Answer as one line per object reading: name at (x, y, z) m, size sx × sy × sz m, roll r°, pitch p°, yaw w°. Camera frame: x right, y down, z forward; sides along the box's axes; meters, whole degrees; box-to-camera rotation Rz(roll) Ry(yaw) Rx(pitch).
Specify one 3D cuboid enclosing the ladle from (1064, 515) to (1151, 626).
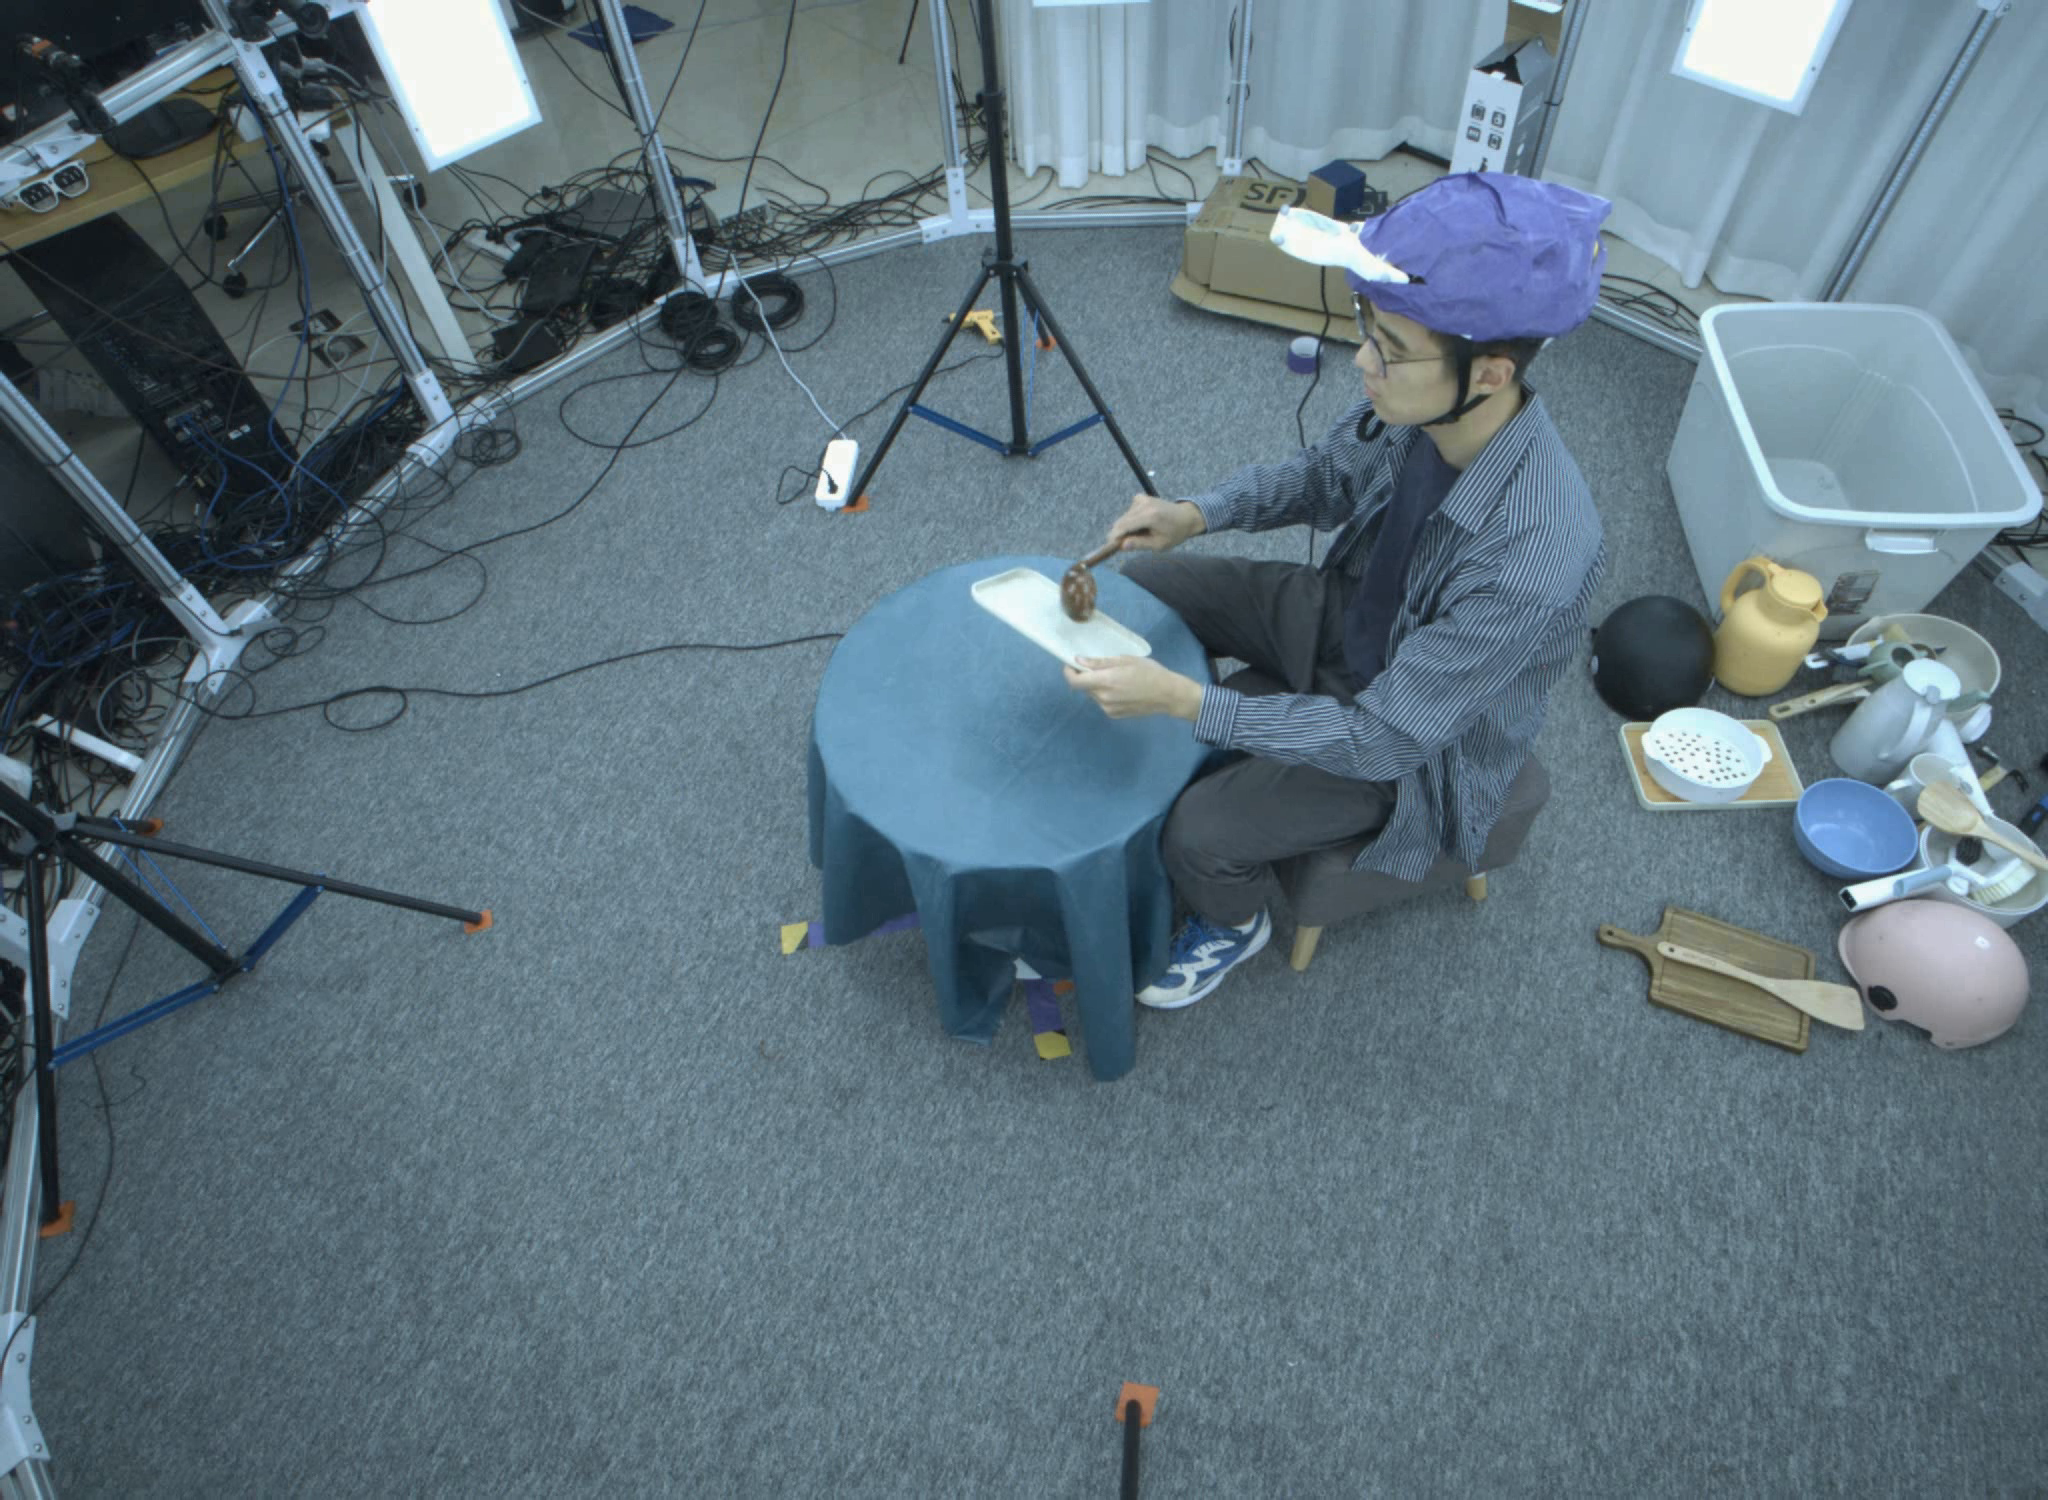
ladle at (0.137, -0.264, 1.747) m, size 0.076 × 0.082 × 0.276 m, roll 37°, pitch 46°, yaw 11°

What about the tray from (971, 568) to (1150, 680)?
tray at (0.051, -0.177, 1.711) m, size 0.237 × 0.017 × 0.173 m, roll 35°, pitch 32°, yaw 15°
